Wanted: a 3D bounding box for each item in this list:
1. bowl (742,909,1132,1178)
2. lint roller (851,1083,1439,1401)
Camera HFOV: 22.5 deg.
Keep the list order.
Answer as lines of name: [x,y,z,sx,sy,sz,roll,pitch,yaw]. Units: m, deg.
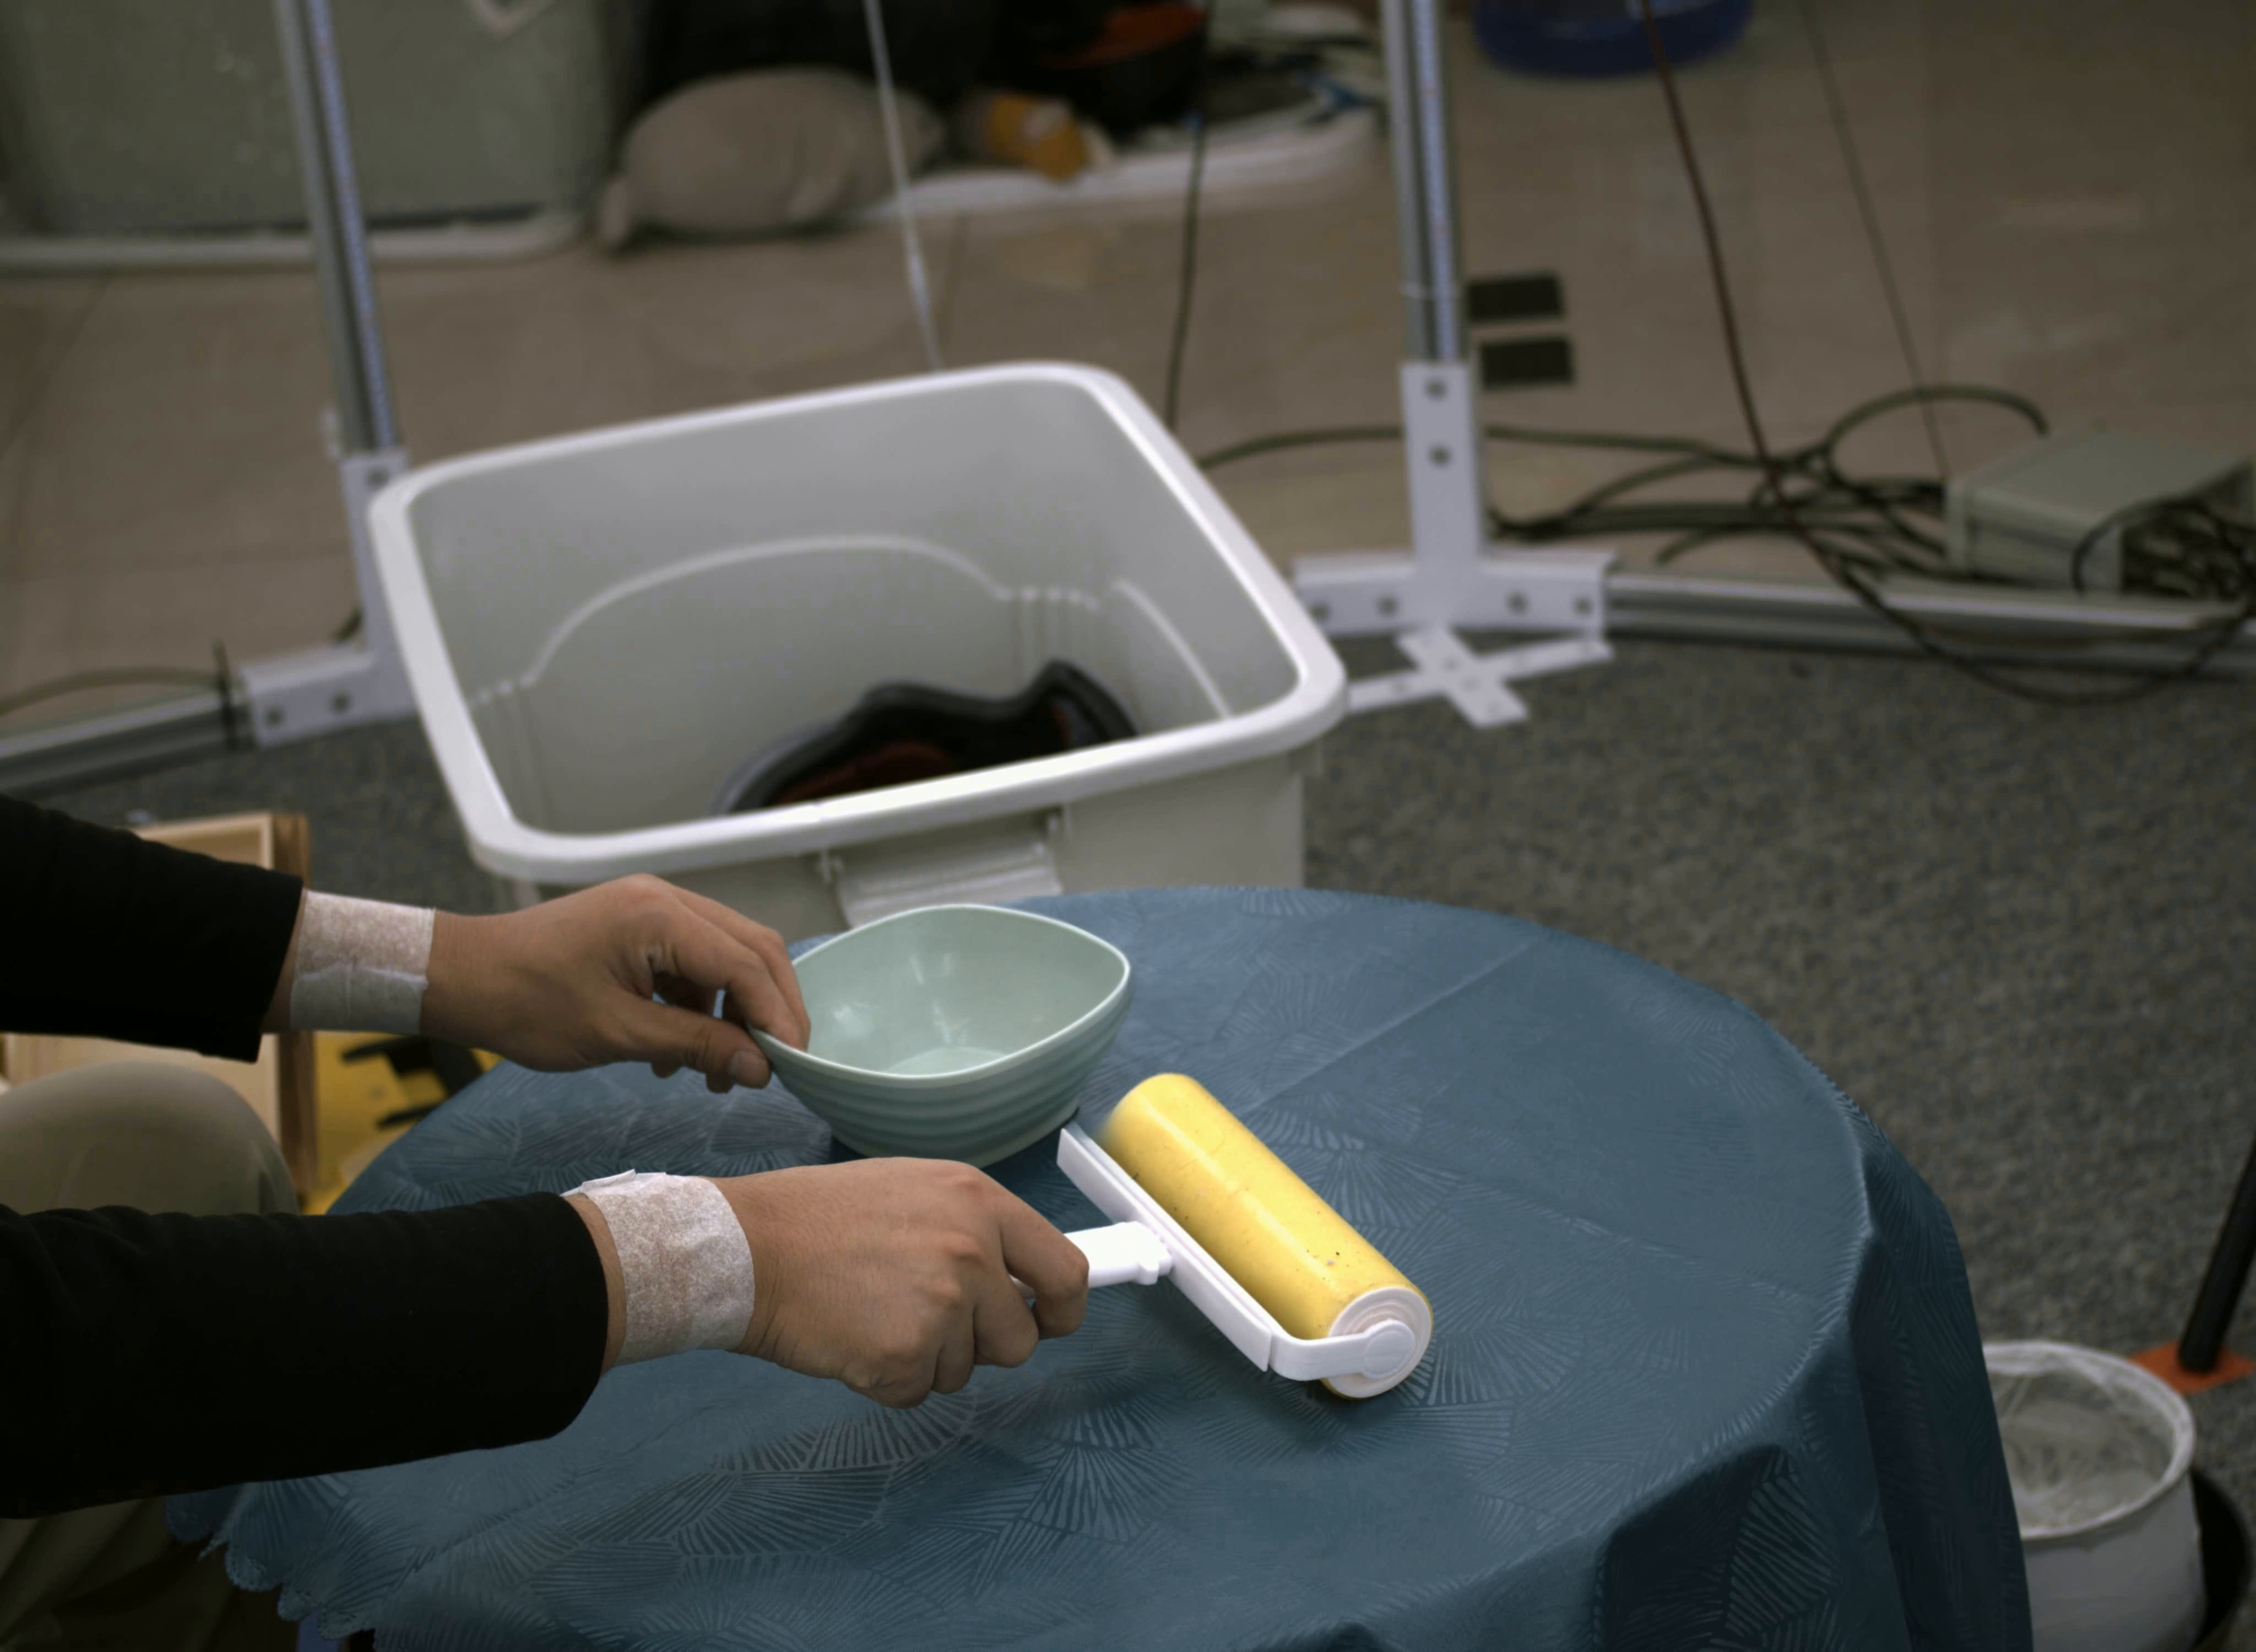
bowl: [-0.072,0.089,2.204,0.151,0.059,0.149,-4,24,2]
lint roller: [-0.010,0.146,2.003,0.192,0.052,0.172,4,22,-36]
